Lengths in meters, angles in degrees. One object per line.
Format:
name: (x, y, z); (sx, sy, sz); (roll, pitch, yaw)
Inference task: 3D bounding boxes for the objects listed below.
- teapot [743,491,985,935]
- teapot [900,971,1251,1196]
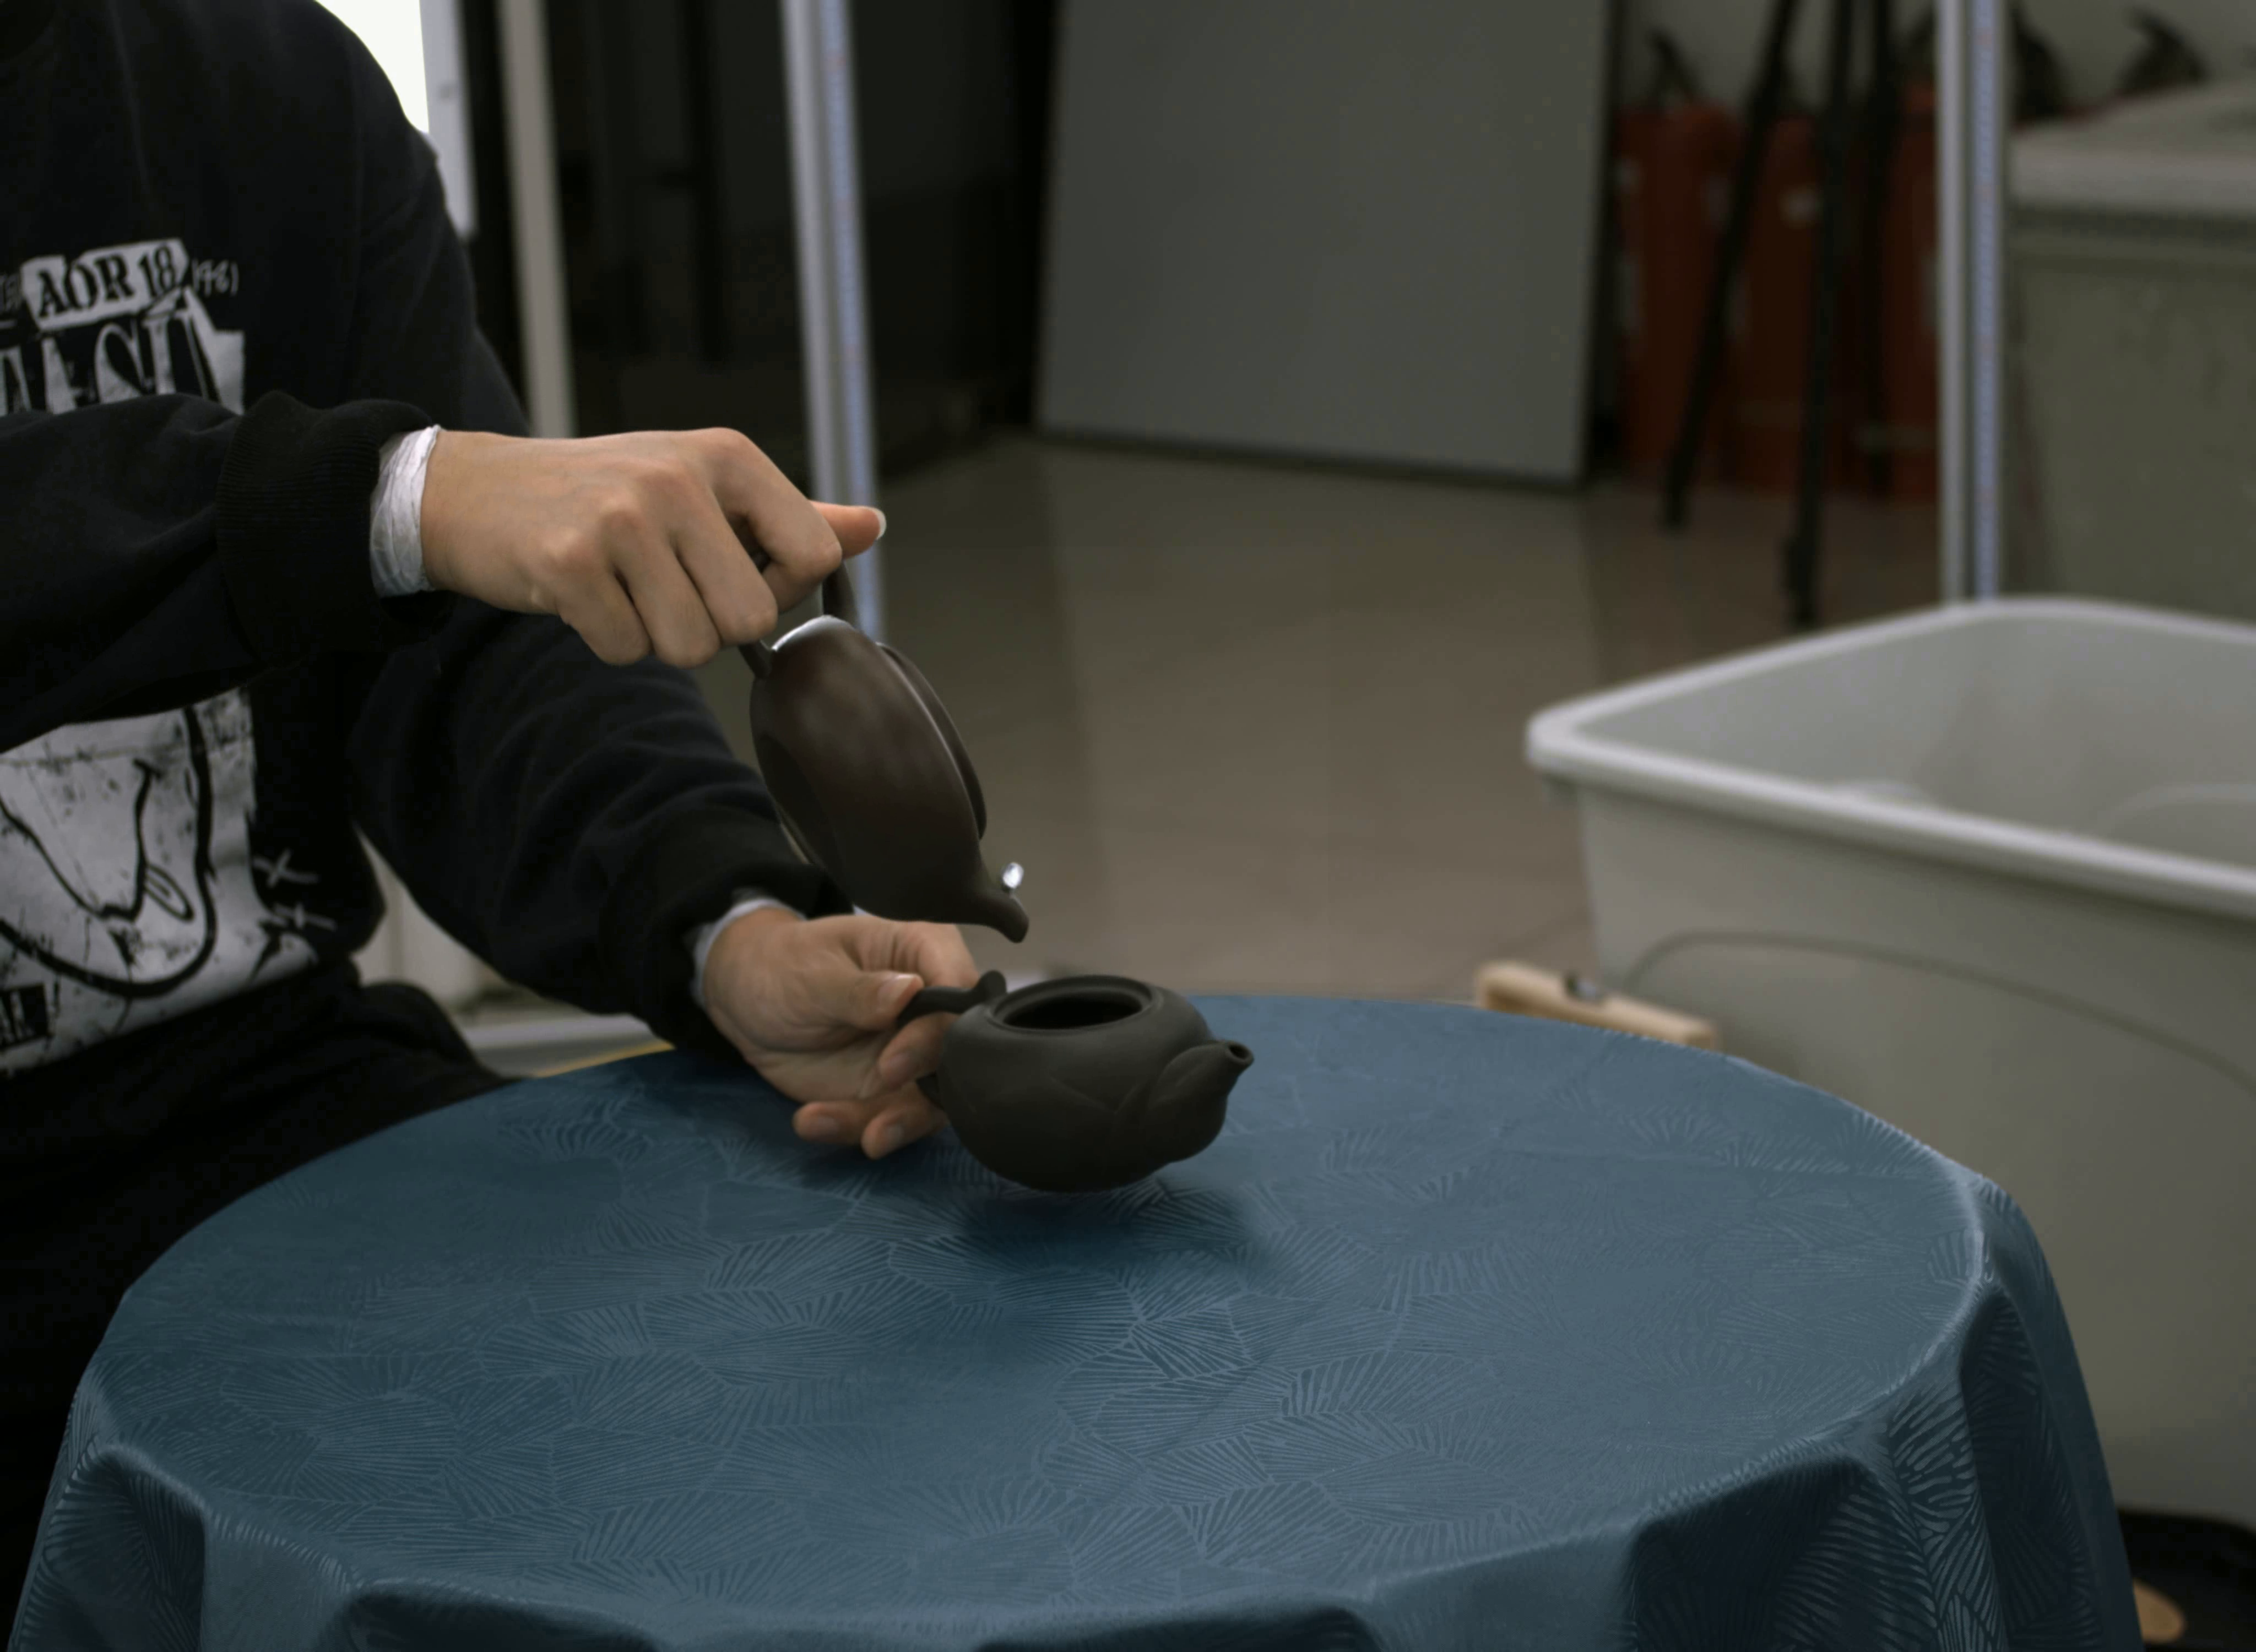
teapot: (-0.087, -0.031, 1.717); (0.053, 0.154, 0.103); (-20, 18, -21)
teapot: (-0.018, 0.083, 1.764); (0.155, 0.065, 0.090); (9, 18, 42)
